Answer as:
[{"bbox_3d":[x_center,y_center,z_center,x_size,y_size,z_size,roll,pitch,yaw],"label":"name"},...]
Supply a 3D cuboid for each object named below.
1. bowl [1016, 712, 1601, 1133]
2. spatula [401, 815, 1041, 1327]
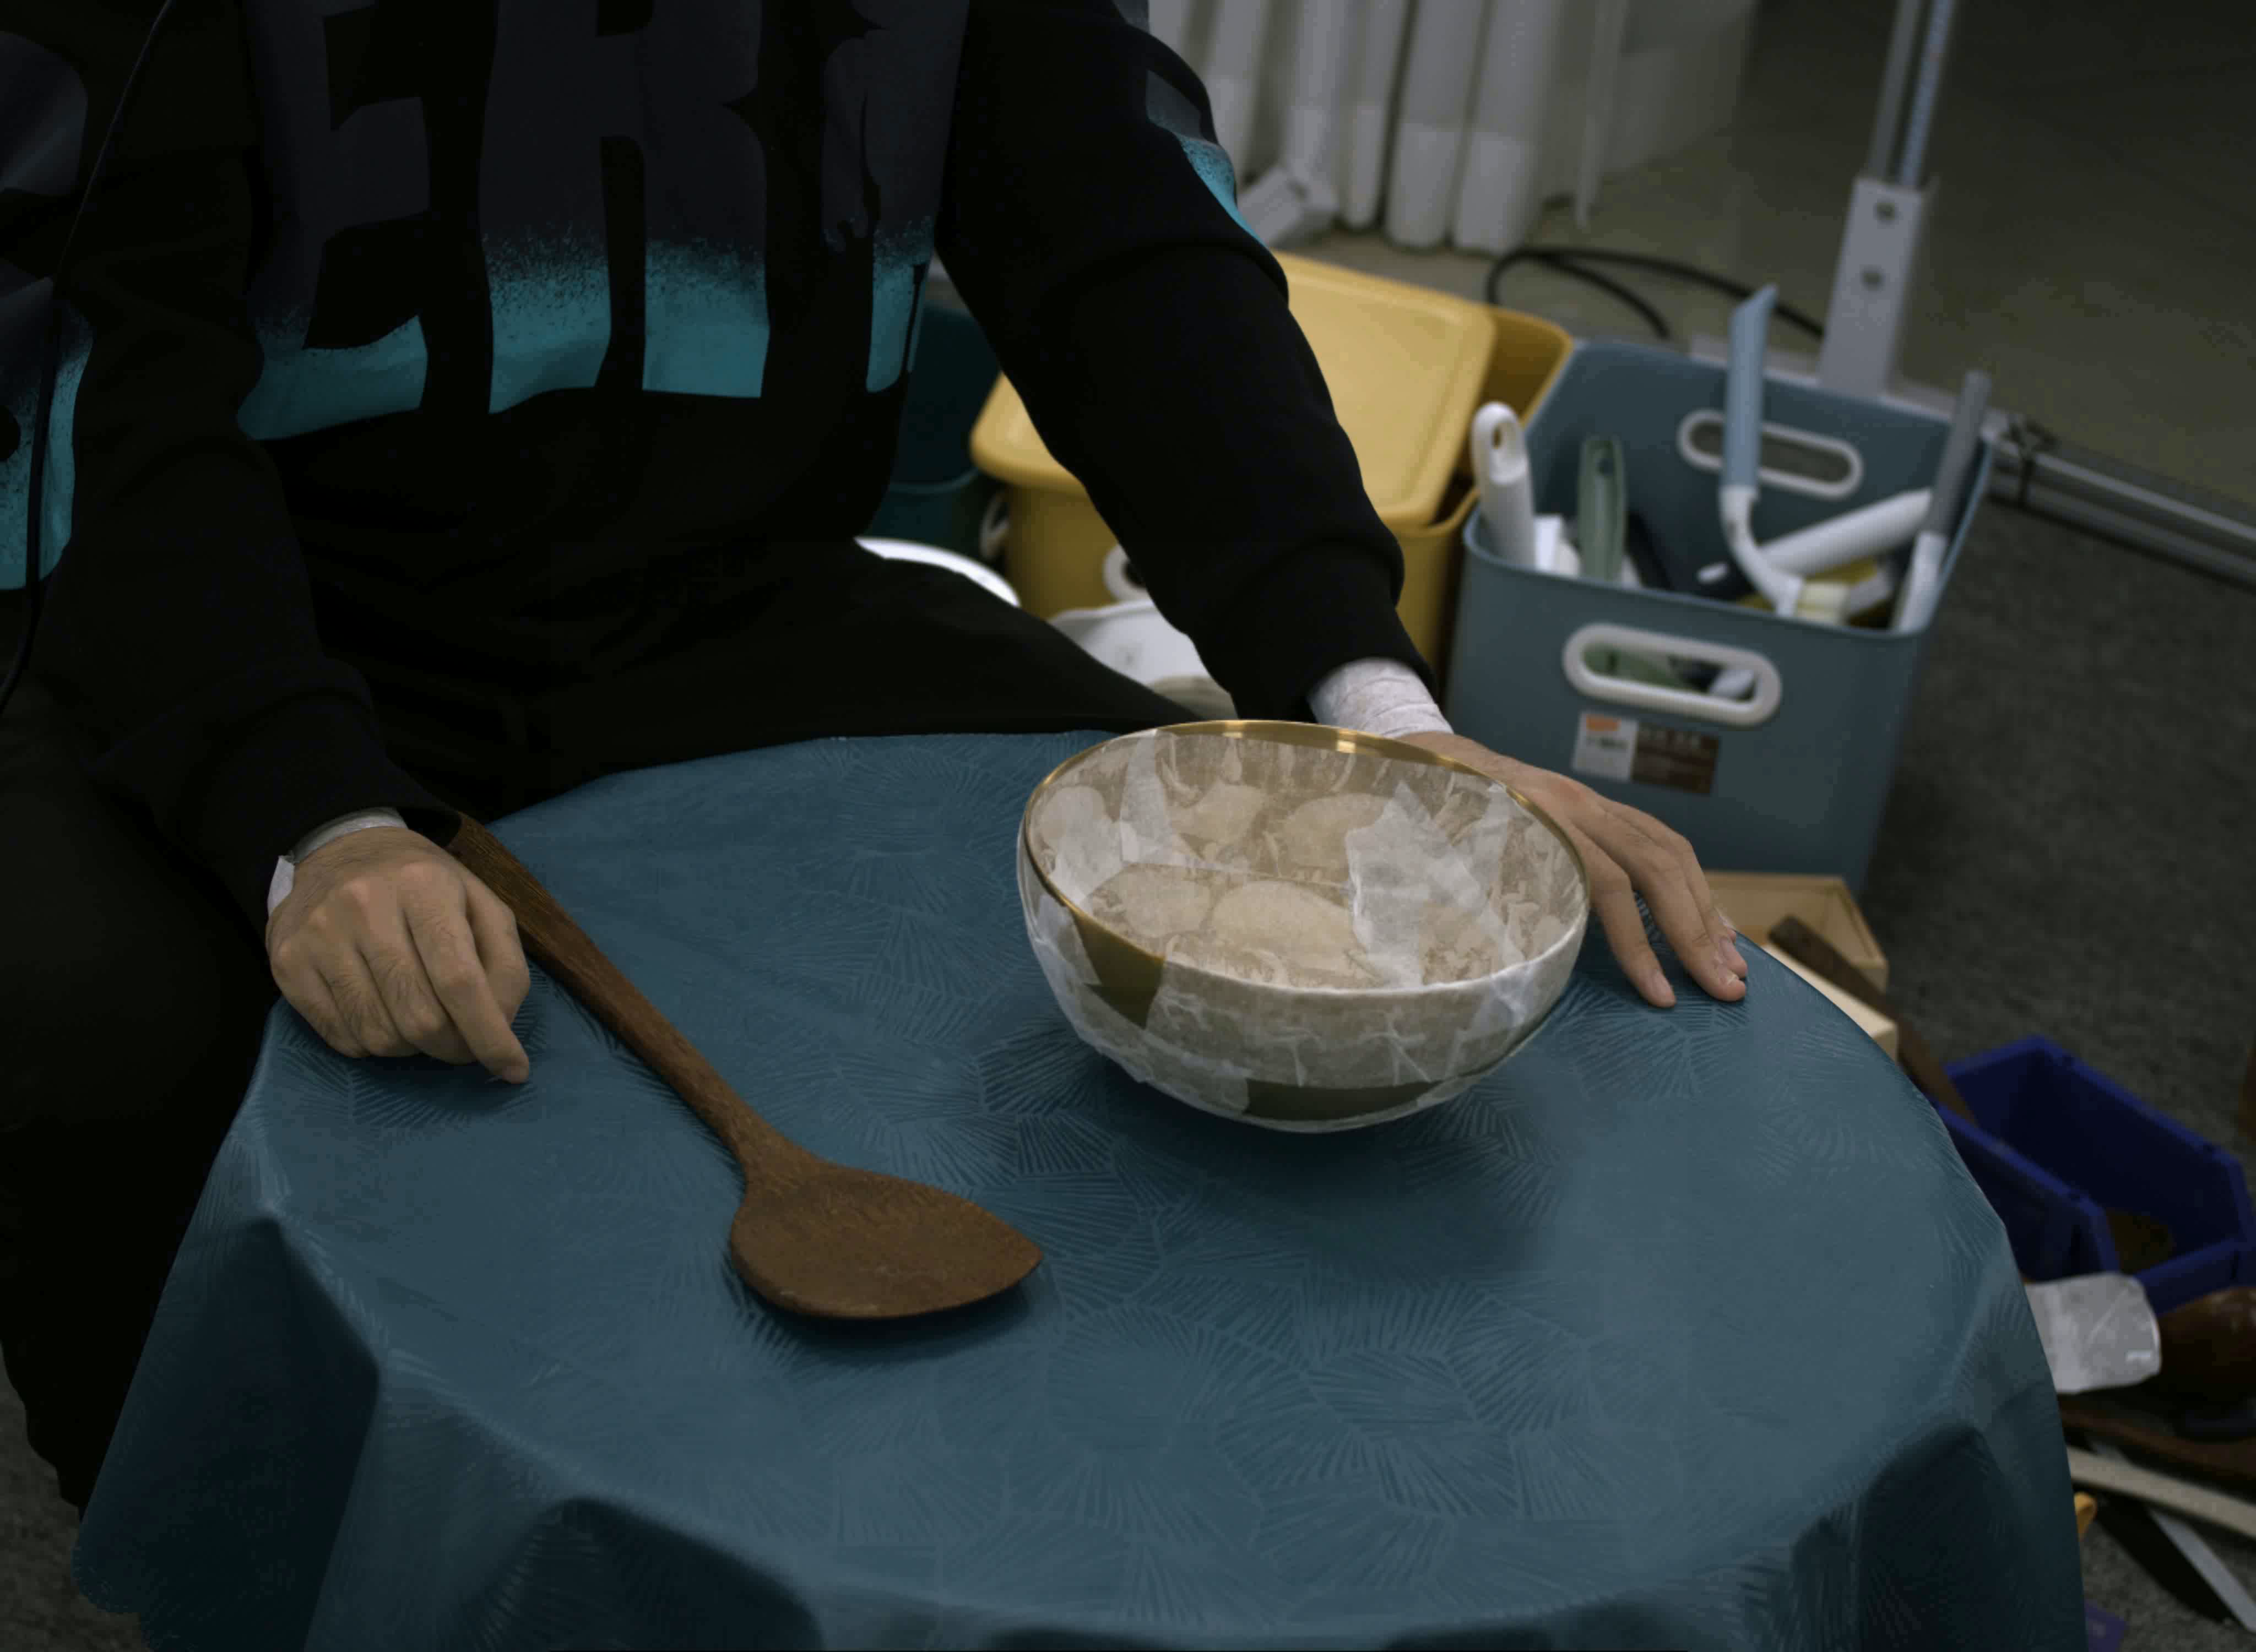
[{"bbox_3d":[0.060,0.046,1.865,0.214,0.094,0.216,3,26,-2],"label":"bowl"},{"bbox_3d":[-0.162,0.077,1.843,0.095,0.016,0.389,-10,31,-31],"label":"spatula"}]
